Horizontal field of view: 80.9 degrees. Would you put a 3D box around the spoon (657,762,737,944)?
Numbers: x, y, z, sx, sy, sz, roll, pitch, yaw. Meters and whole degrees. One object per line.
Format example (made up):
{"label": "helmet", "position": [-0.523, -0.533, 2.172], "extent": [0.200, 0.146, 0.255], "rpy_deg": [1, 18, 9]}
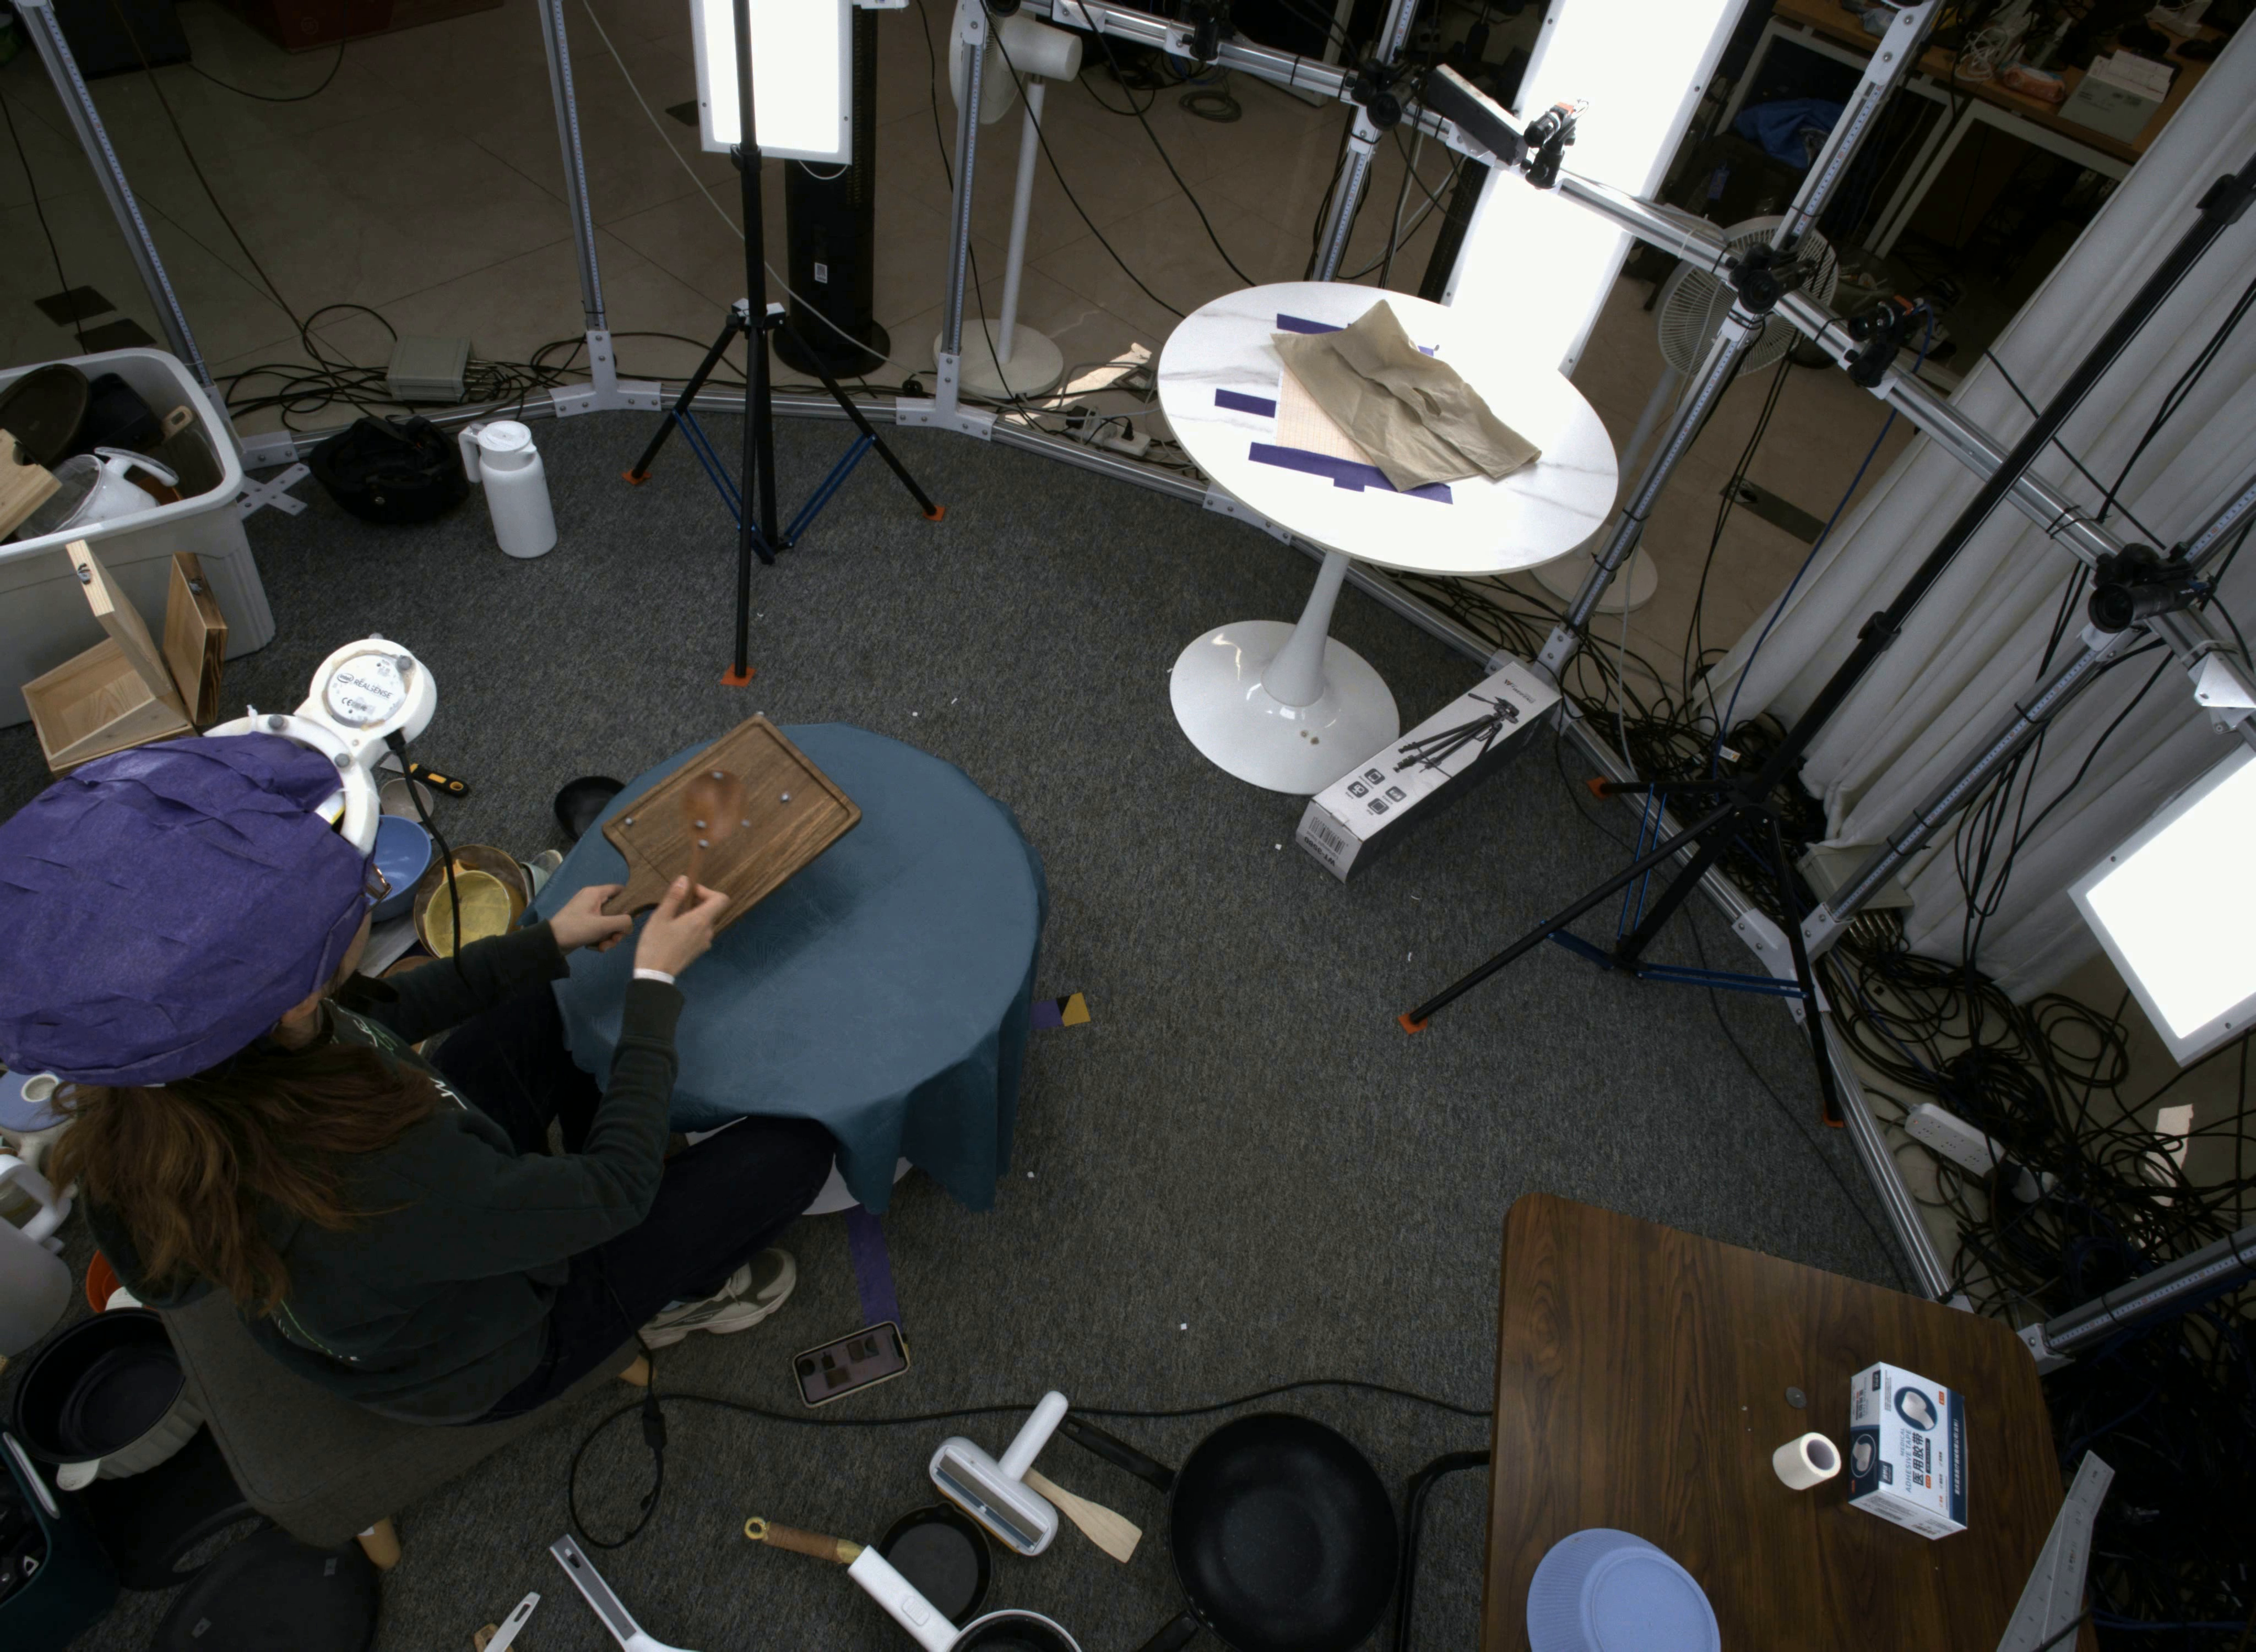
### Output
{"label": "spoon", "position": [-0.487, 0.027, 1.432], "extent": [0.077, 0.017, 0.214], "rpy_deg": [22, 61, -30]}

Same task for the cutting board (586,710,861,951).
{"label": "cutting board", "position": [-0.512, 0.024, 1.550], "extent": [0.200, 0.023, 0.352], "rpy_deg": [44, 60, 4]}
